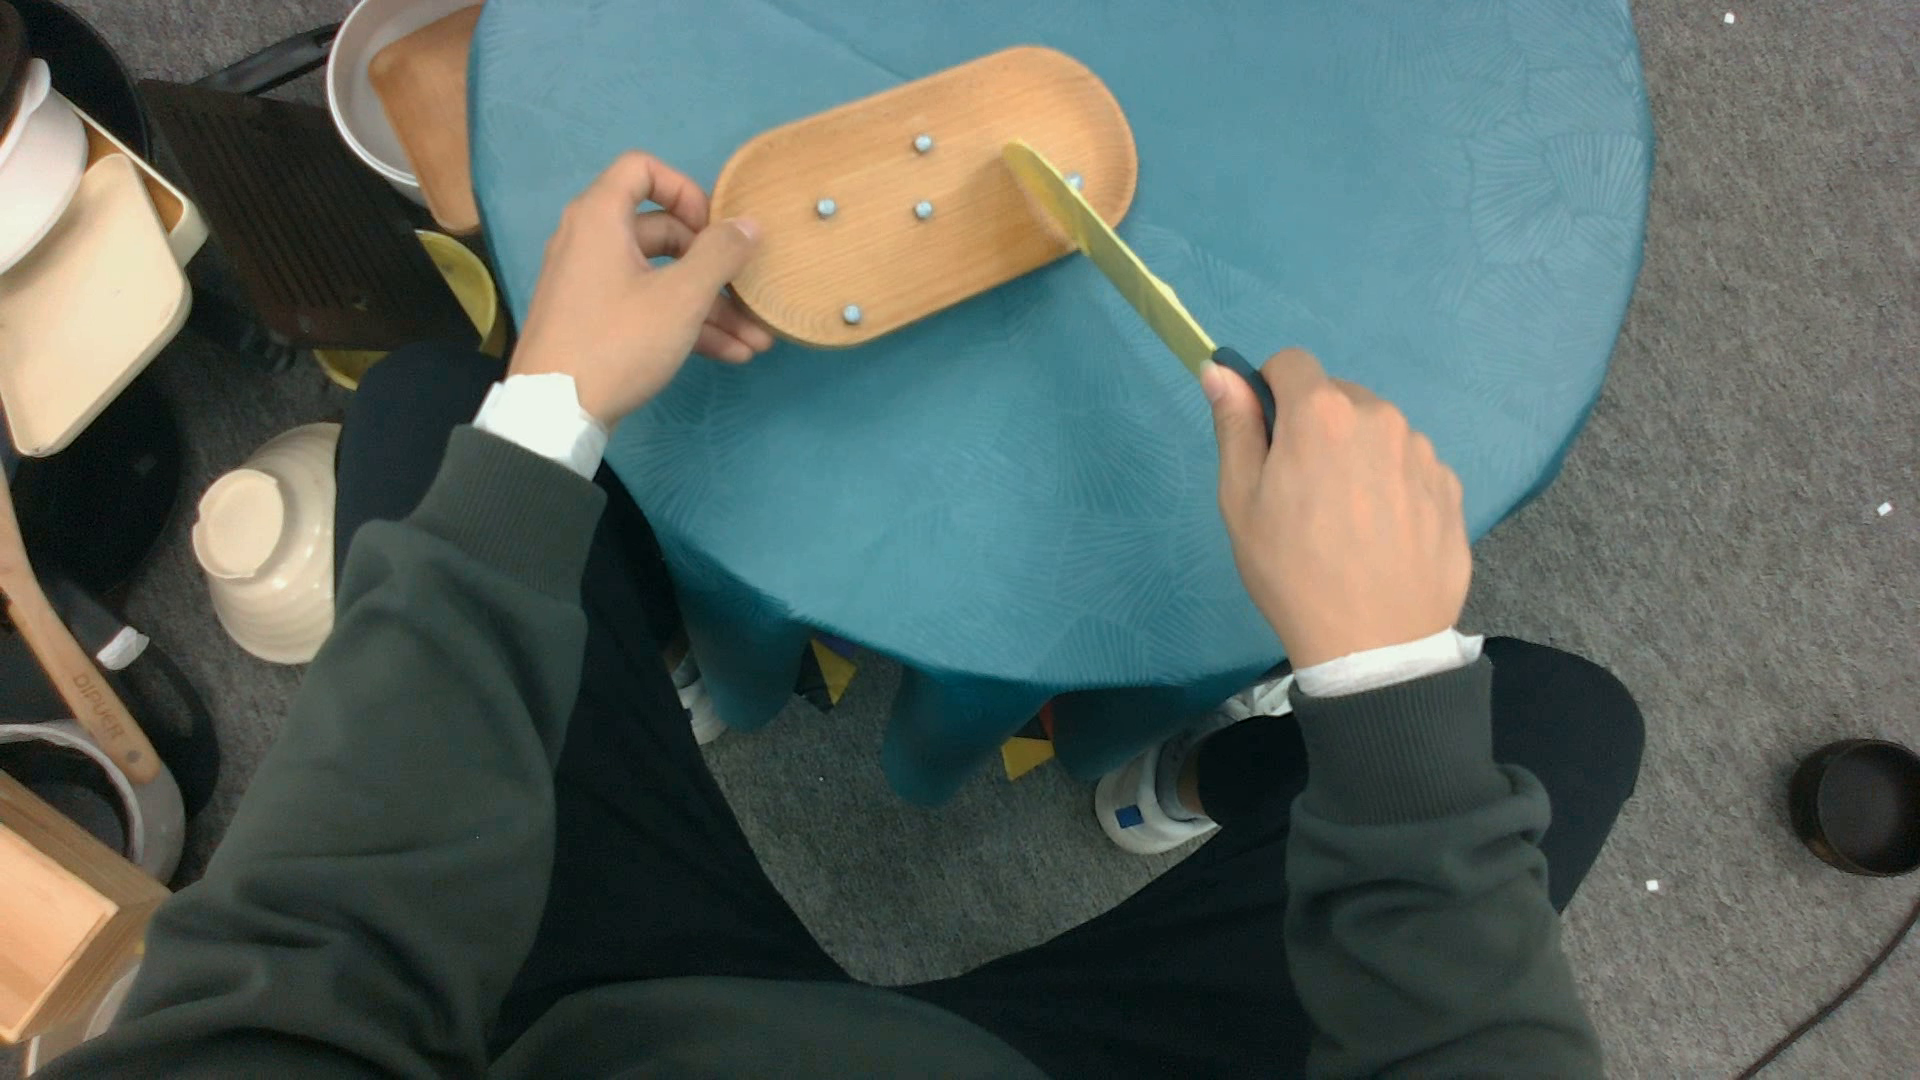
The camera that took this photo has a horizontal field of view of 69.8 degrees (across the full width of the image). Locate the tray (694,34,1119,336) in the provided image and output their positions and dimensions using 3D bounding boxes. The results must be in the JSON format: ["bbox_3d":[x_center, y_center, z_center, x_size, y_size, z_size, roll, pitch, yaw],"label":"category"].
[{"bbox_3d":[-0.019,-0.168,0.643,0.232,0.020,0.101,-30,95,-29],"label":"tray"}]

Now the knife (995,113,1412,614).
[{"bbox_3d":[0.096,-0.084,0.600,0.027,0.081,0.290,-37,72,4],"label":"knife"}]
